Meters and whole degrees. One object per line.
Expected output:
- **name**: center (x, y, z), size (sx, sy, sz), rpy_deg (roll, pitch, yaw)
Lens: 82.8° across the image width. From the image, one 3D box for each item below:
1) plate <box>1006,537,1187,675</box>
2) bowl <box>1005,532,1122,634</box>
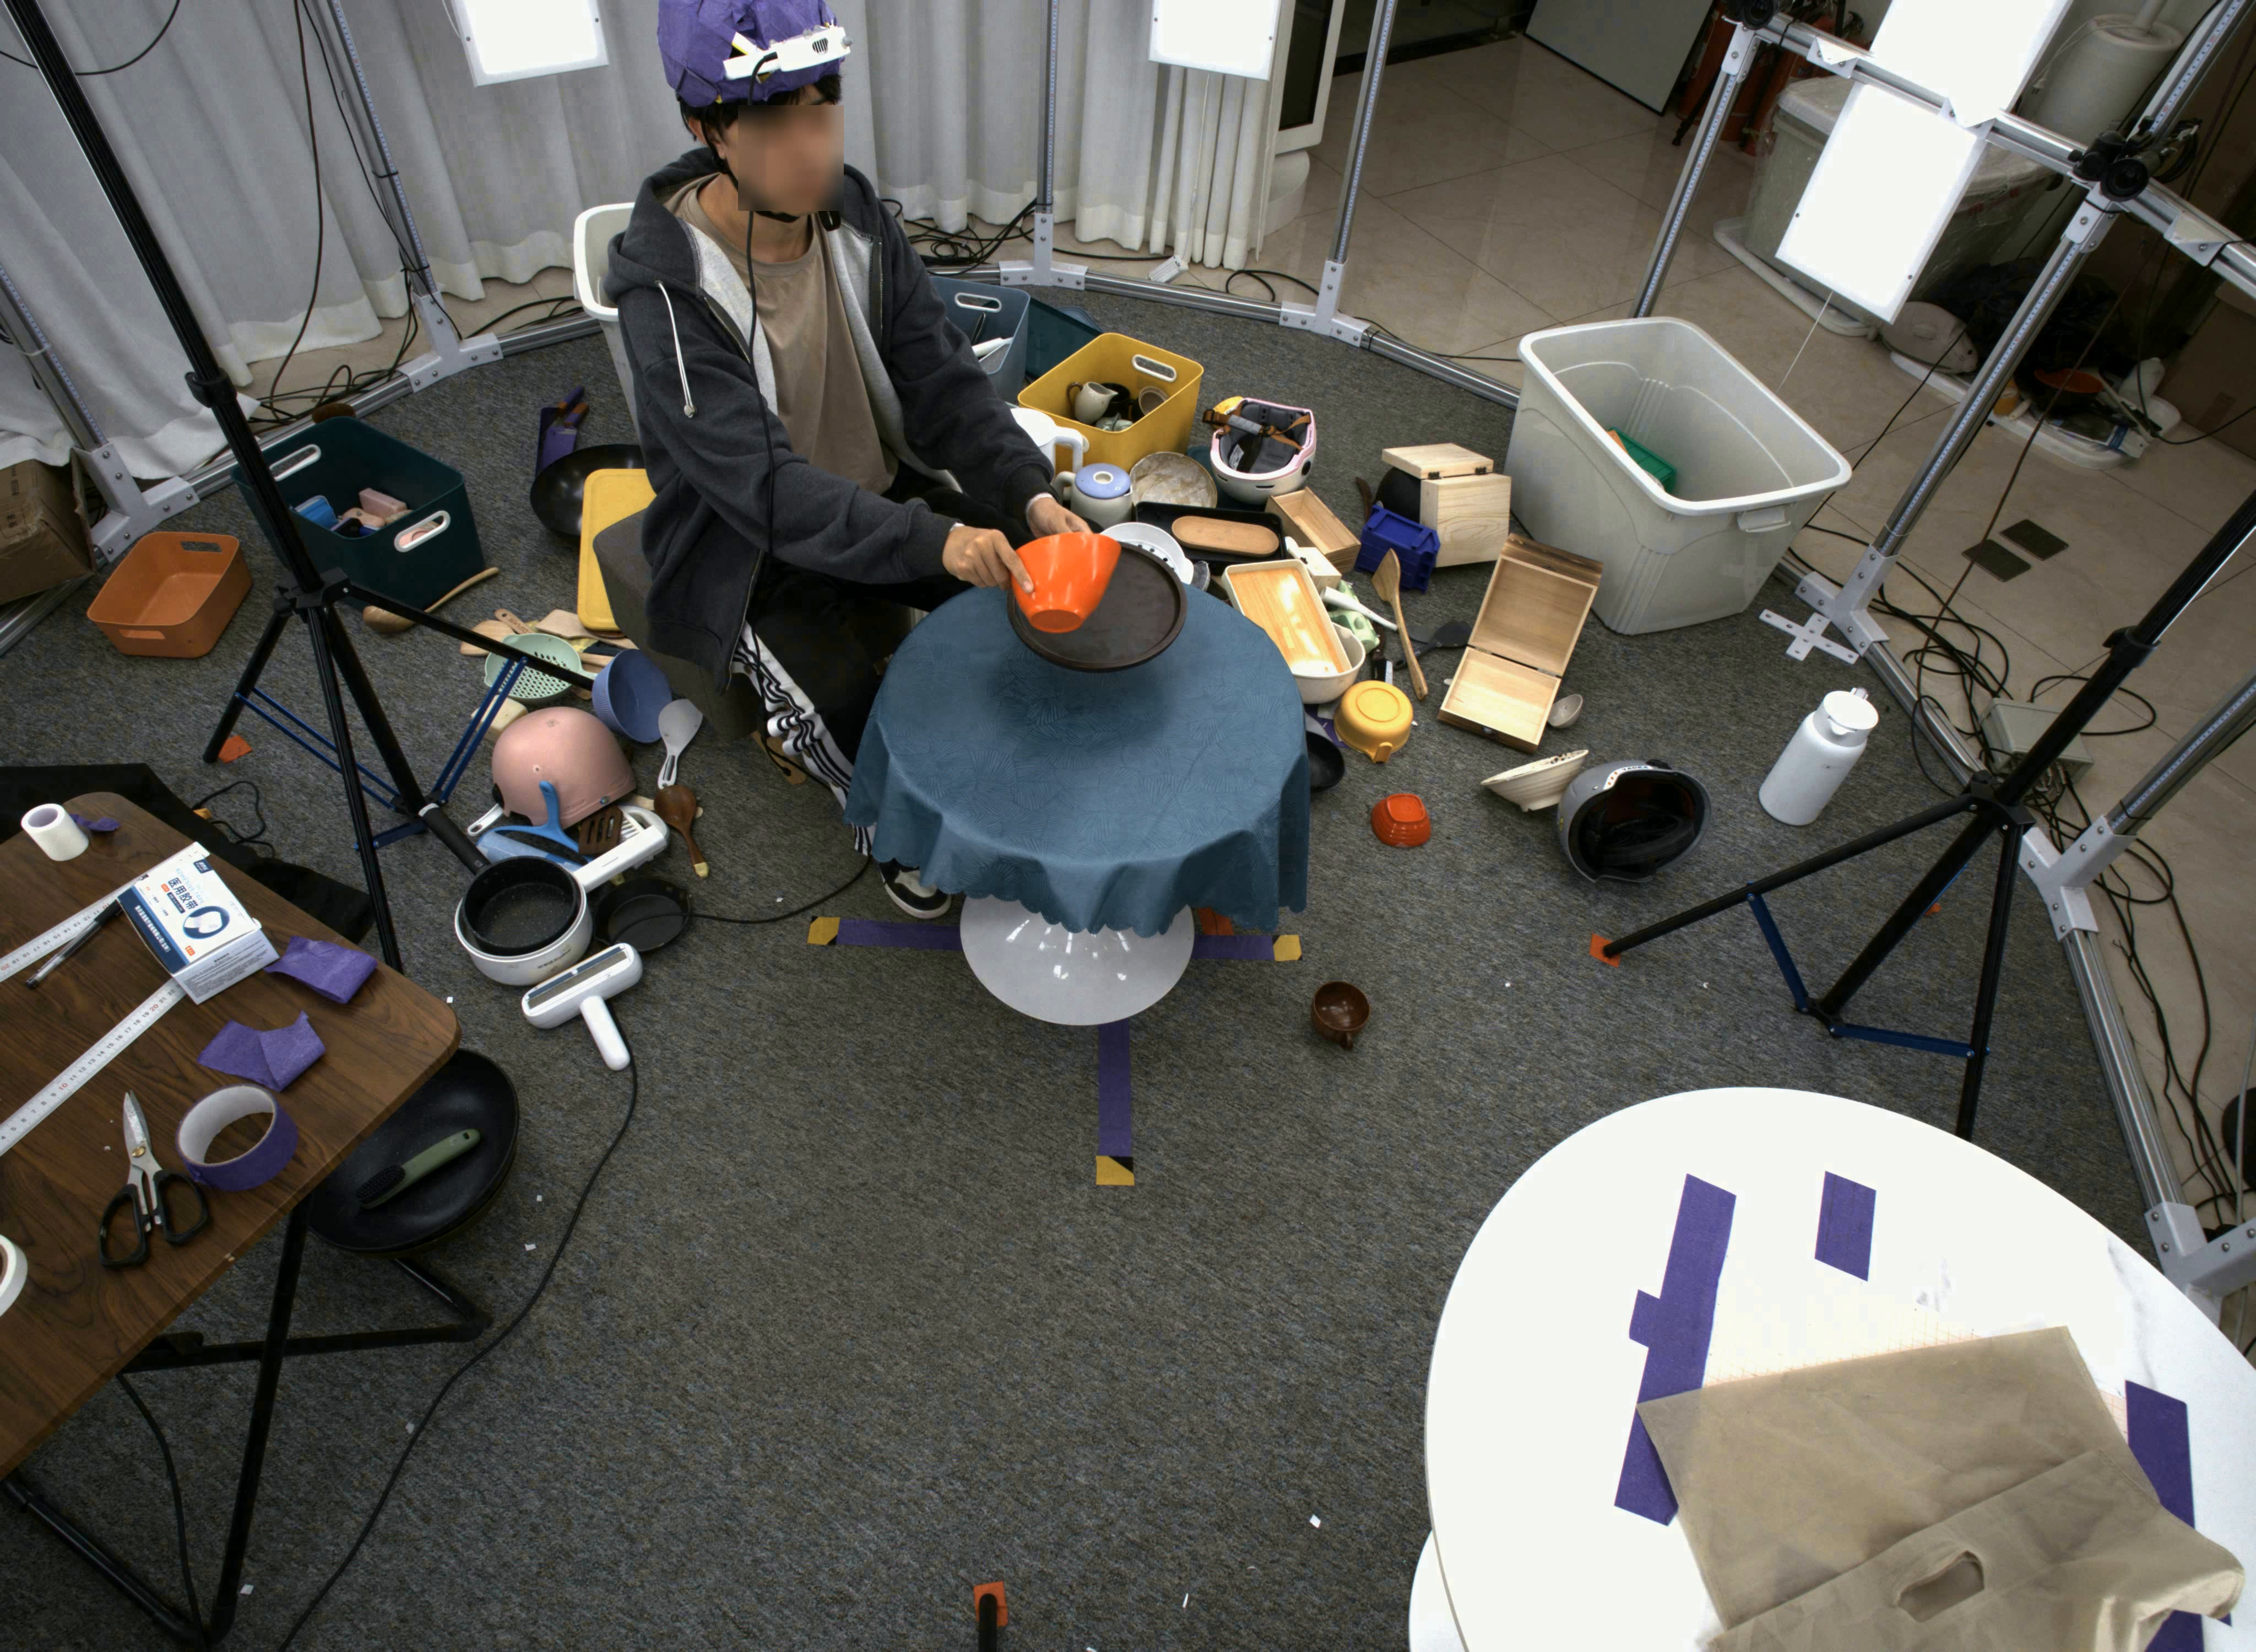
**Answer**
- **plate**: center (-0.044, -0.309, 1.800), size (0.254, 0.028, 0.261), rpy_deg (0, 54, -1)
- **bowl**: center (-0.081, -0.301, 1.622), size (0.148, 0.146, 0.106), rpy_deg (2, 72, -3)
